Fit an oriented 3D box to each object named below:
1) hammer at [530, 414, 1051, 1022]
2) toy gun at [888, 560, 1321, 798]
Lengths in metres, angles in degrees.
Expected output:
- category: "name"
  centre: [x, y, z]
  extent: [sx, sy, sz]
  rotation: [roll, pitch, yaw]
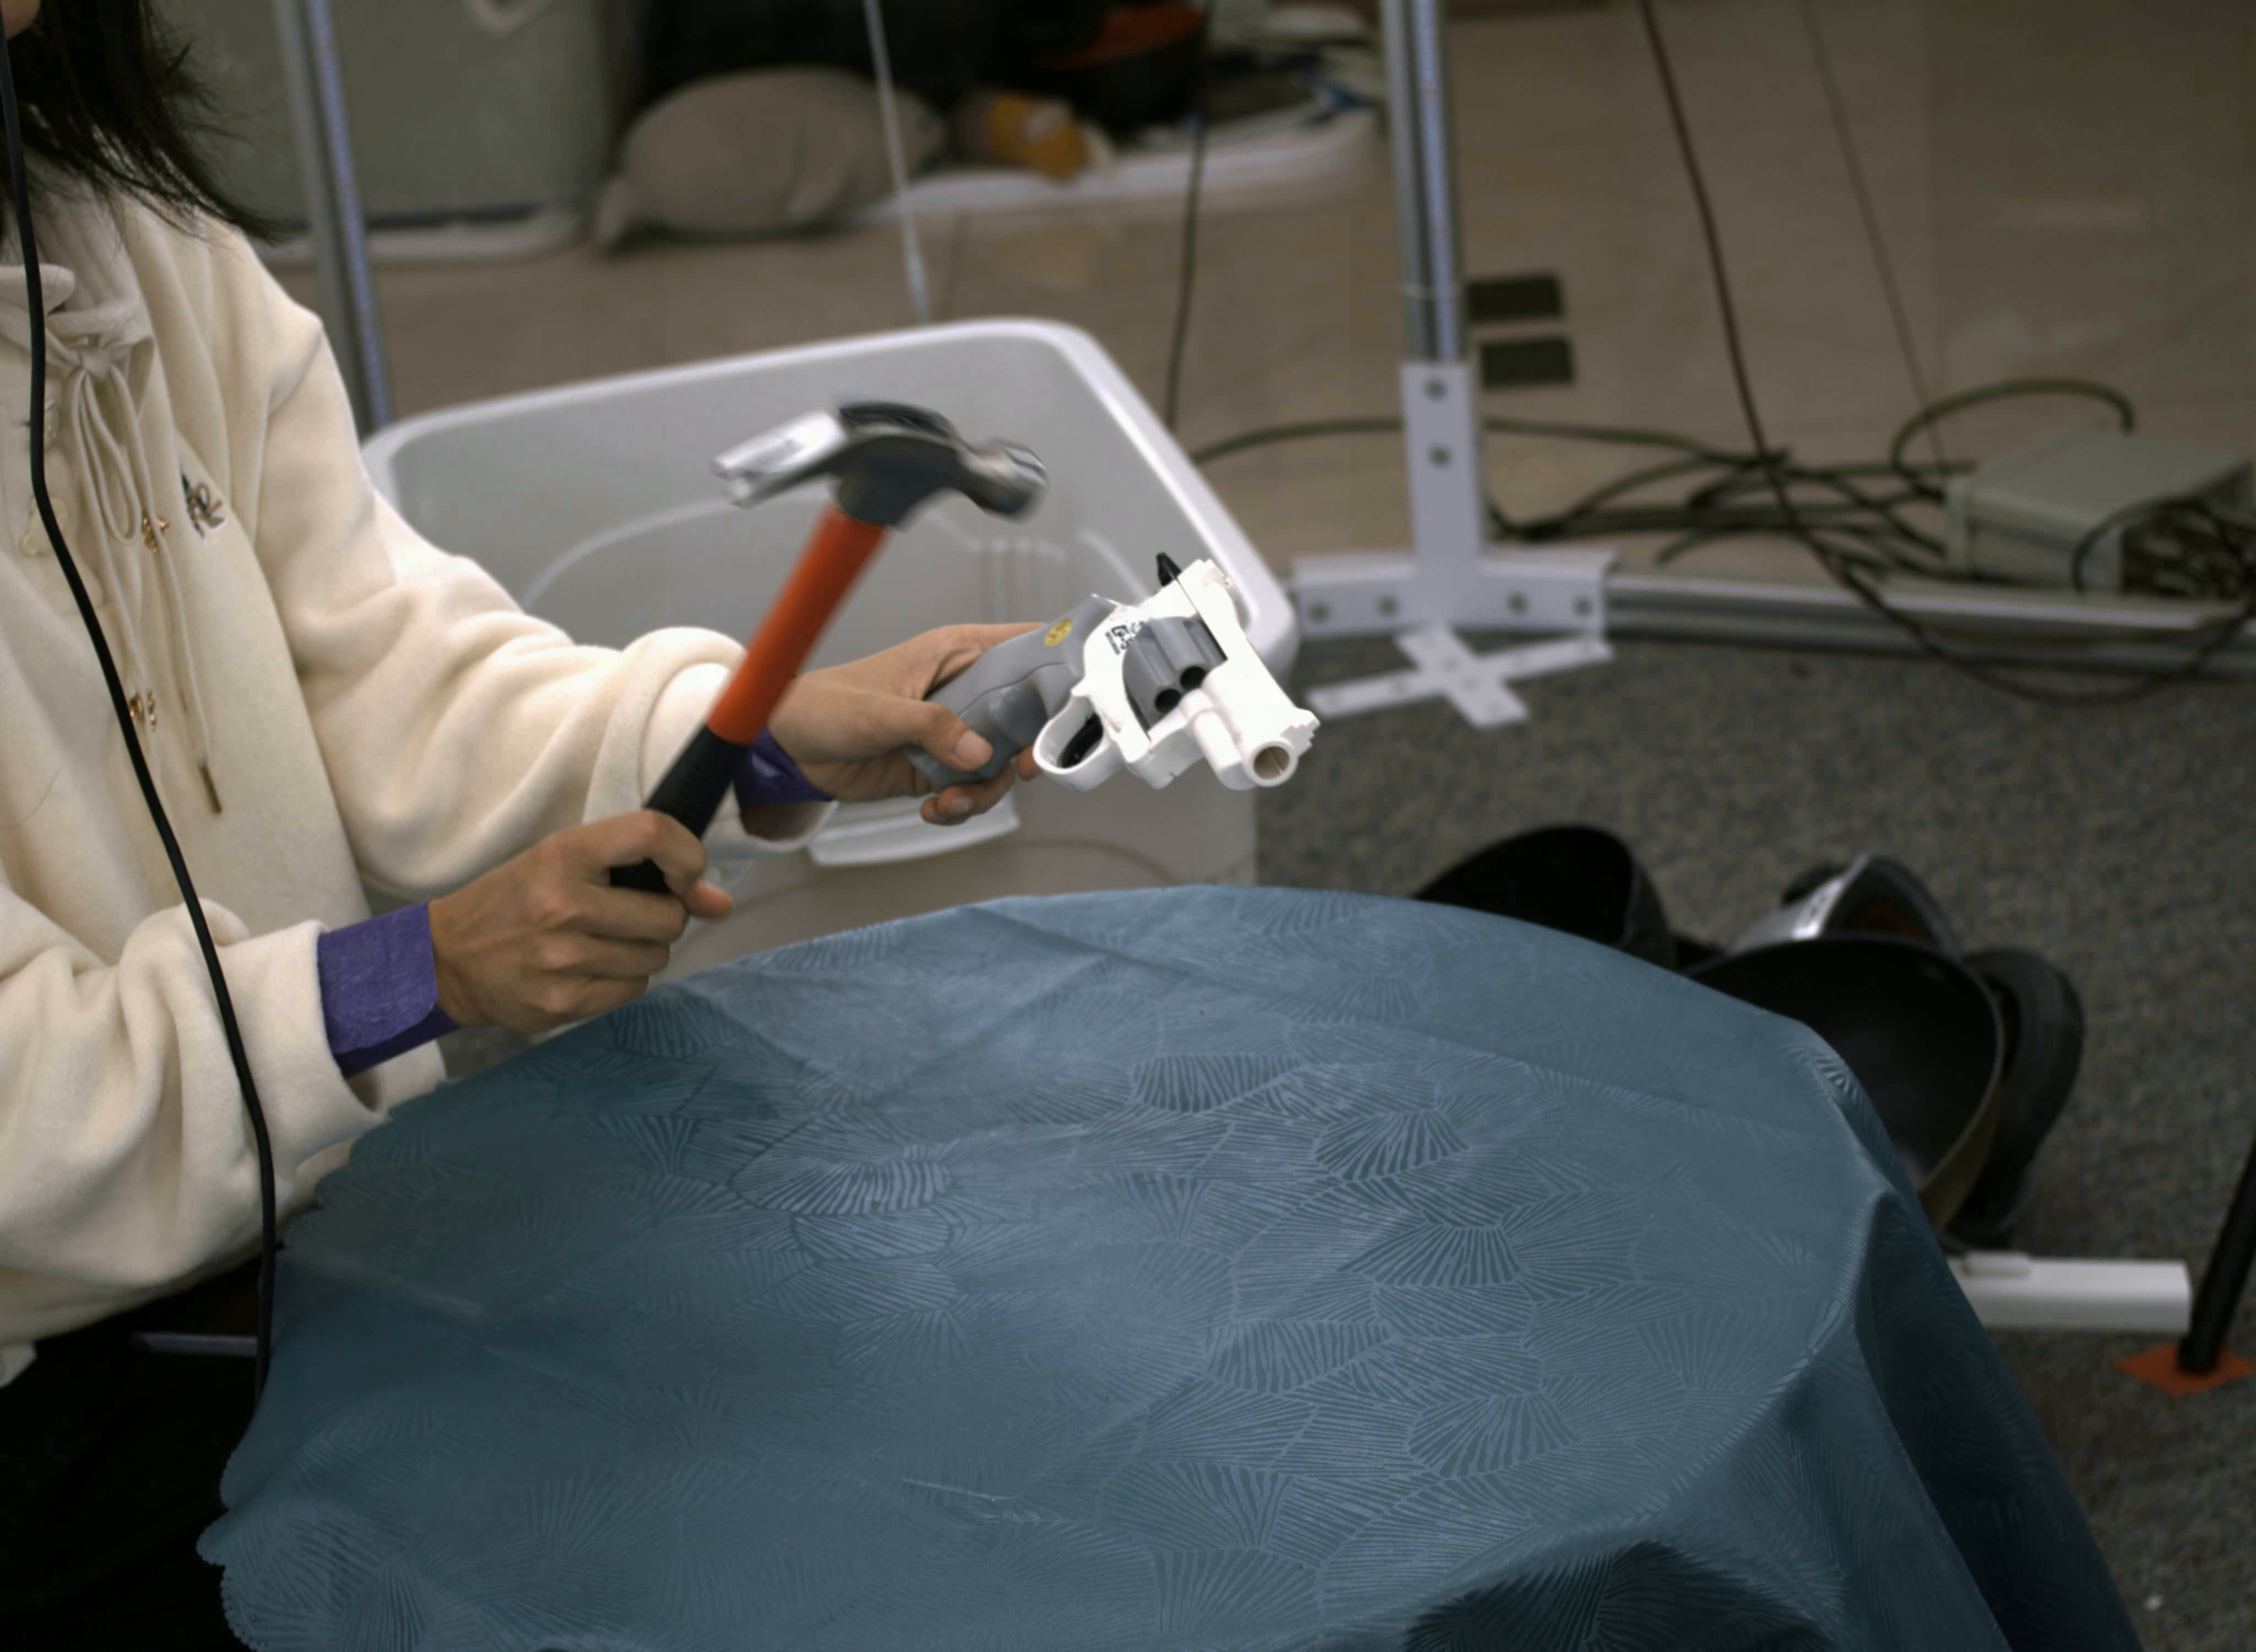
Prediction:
- category: "hammer"
  centre: [-0.139, -0.036, 2.037]
  extent: [0.111, 0.281, 0.026]
  rotation: [7, 38, -43]
- category: "toy gun"
  centre: [-0.011, -0.039, 2.111]
  extent: [0.142, 0.039, 0.206]
  rotation: [-40, 29, 5]
